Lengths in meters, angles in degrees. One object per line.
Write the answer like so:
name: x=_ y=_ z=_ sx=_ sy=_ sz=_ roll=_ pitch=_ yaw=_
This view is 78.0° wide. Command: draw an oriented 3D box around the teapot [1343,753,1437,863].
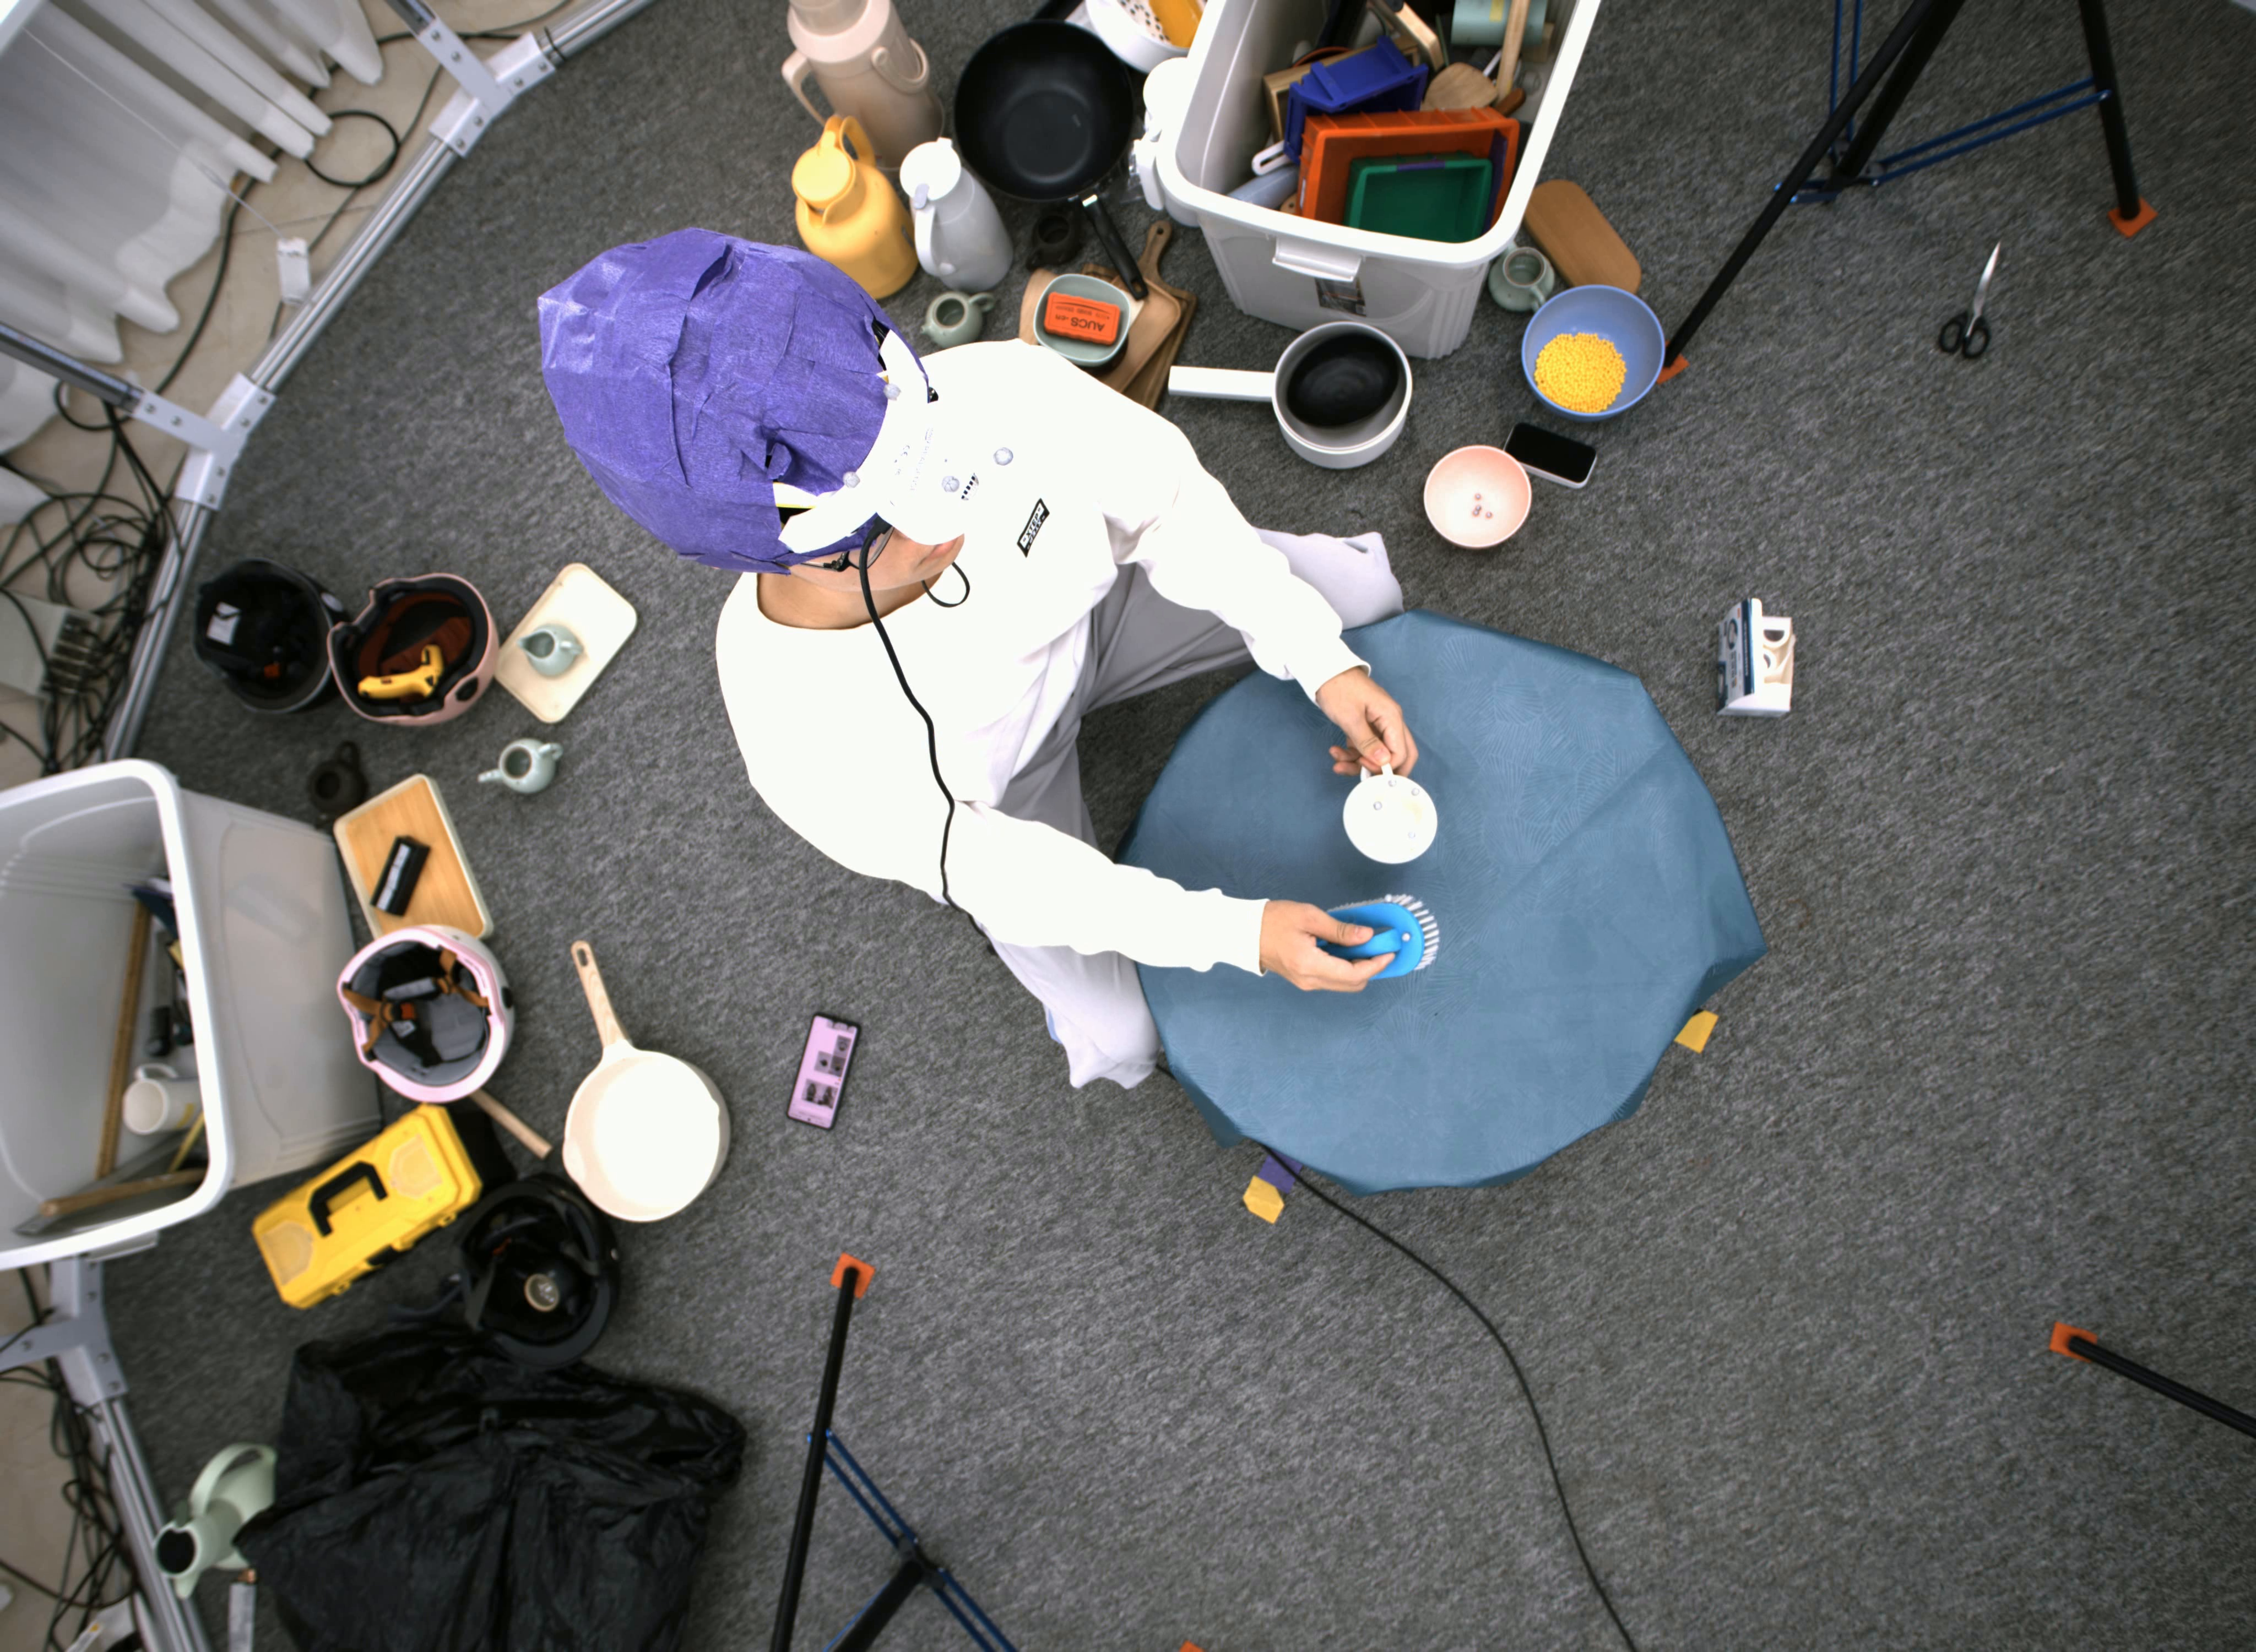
teapot: x=0.255 y=-0.018 z=1.364 sx=0.093 sy=0.058 sz=0.125 roll=-9 pitch=62 yaw=-15

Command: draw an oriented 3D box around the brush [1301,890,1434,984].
brush: x=0.226 y=0.113 z=1.351 sx=0.143 sy=0.063 sz=0.085 roll=-11 pitch=99 yaw=45
